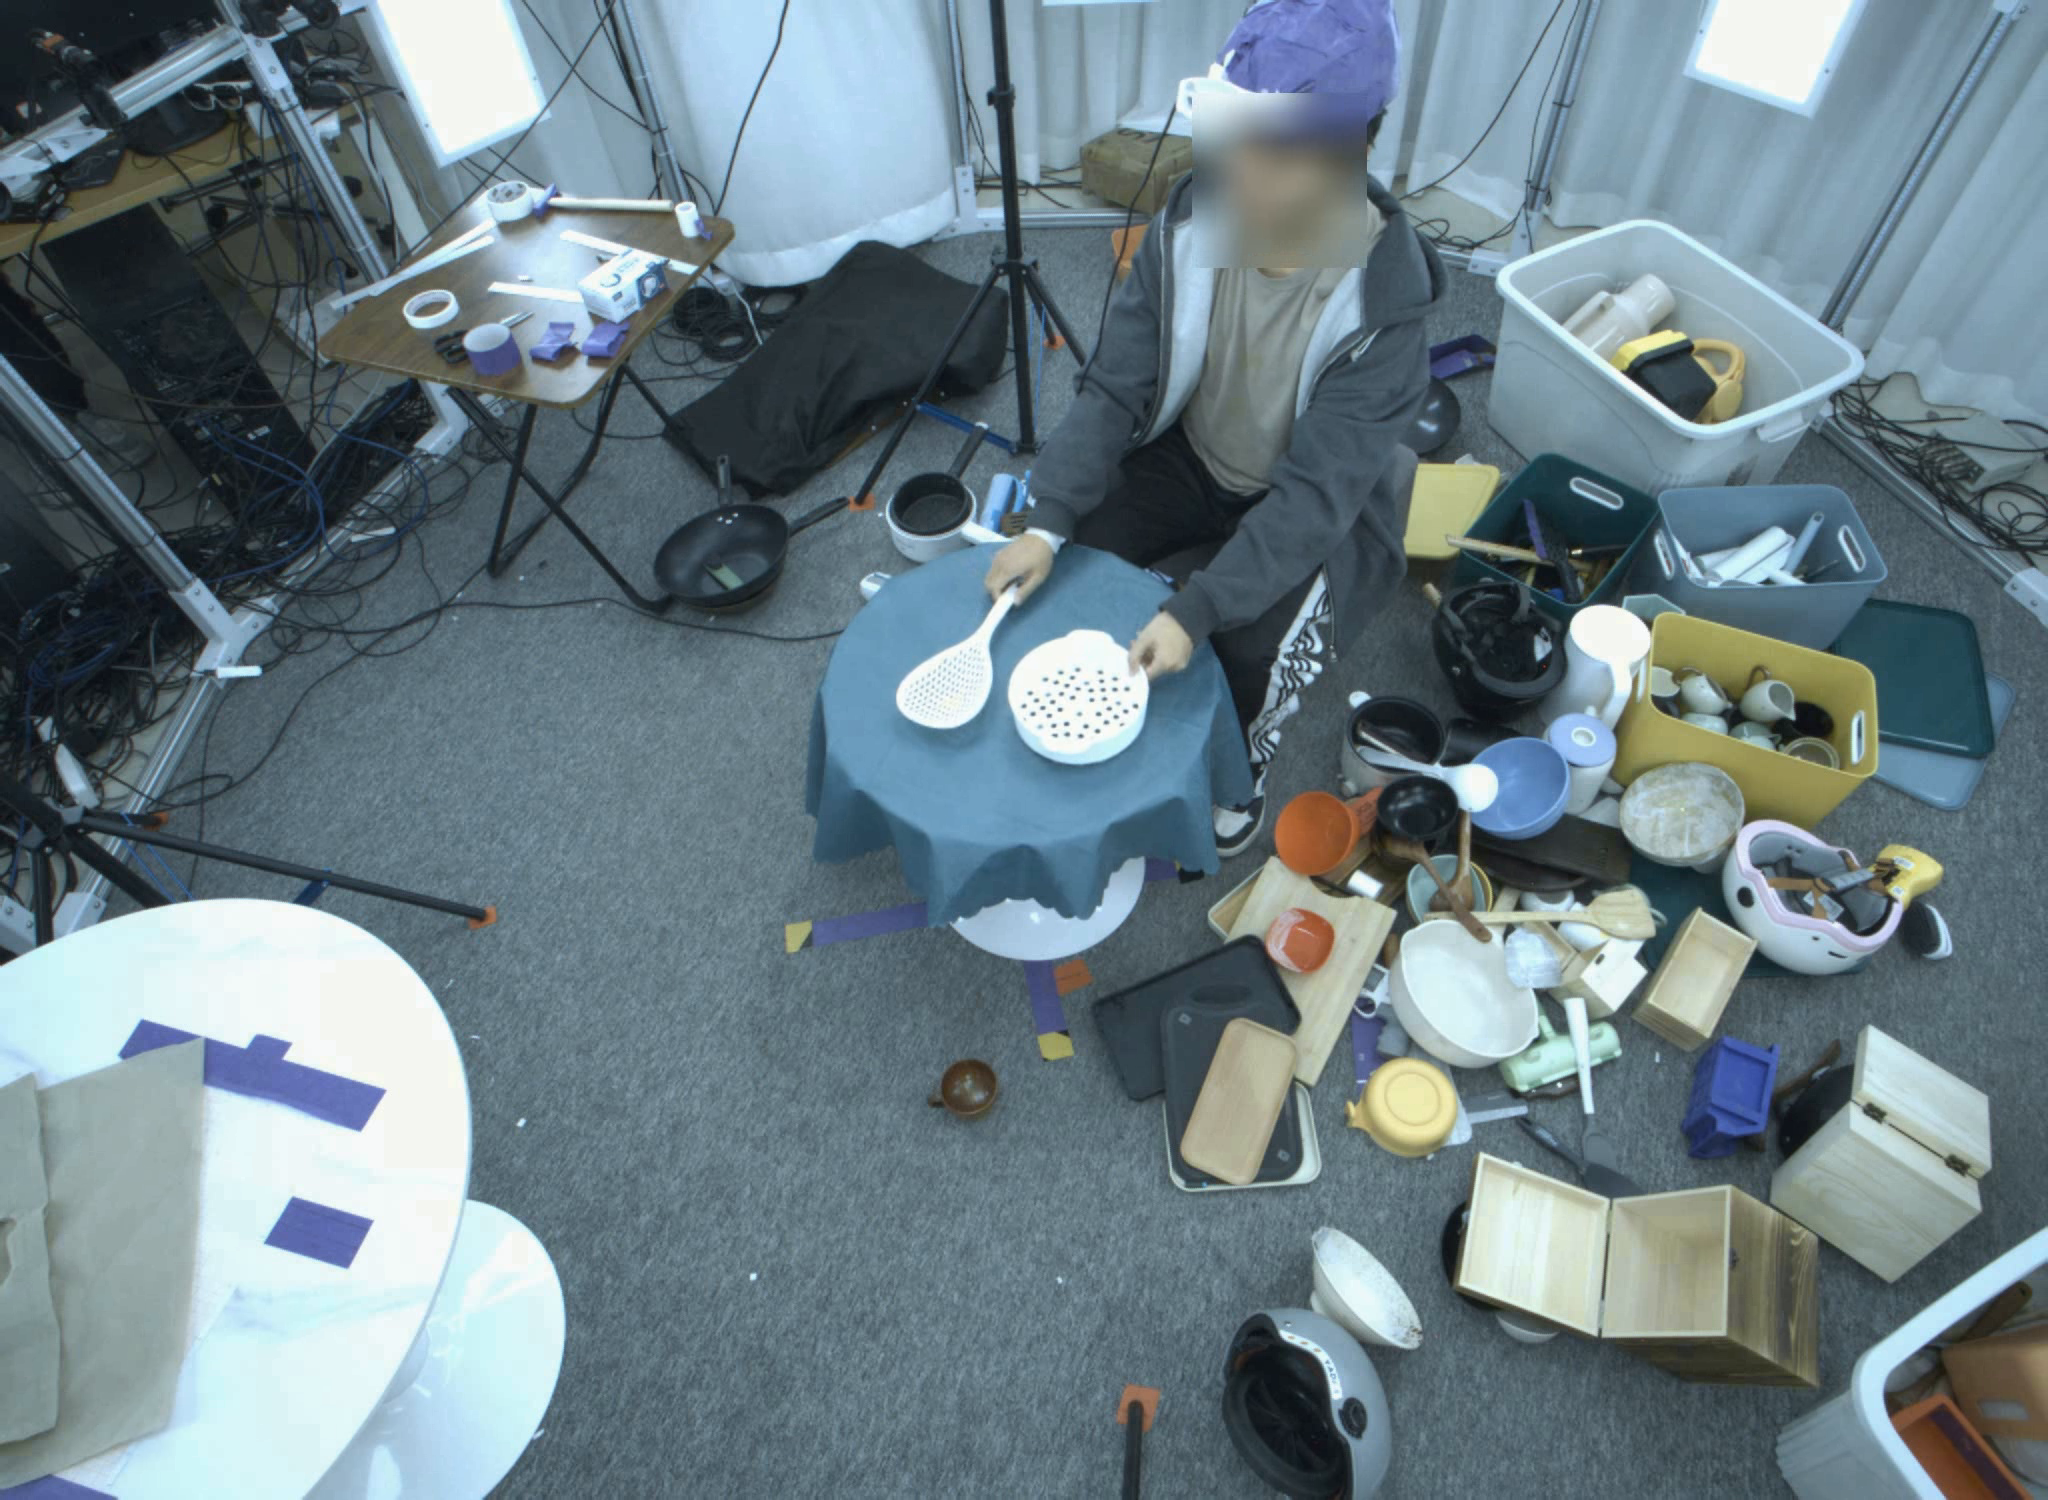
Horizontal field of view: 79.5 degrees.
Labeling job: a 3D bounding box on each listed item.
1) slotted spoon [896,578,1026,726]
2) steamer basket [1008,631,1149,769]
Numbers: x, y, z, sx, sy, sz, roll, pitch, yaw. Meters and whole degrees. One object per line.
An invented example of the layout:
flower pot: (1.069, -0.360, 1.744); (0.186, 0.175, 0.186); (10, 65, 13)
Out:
slotted spoon: (-0.071, -0.158, 1.877); (0.135, 0.051, 0.348); (16, 57, 20)
steamer basket: (0.080, -0.067, 1.792); (0.201, 0.070, 0.229); (8, 58, 8)
